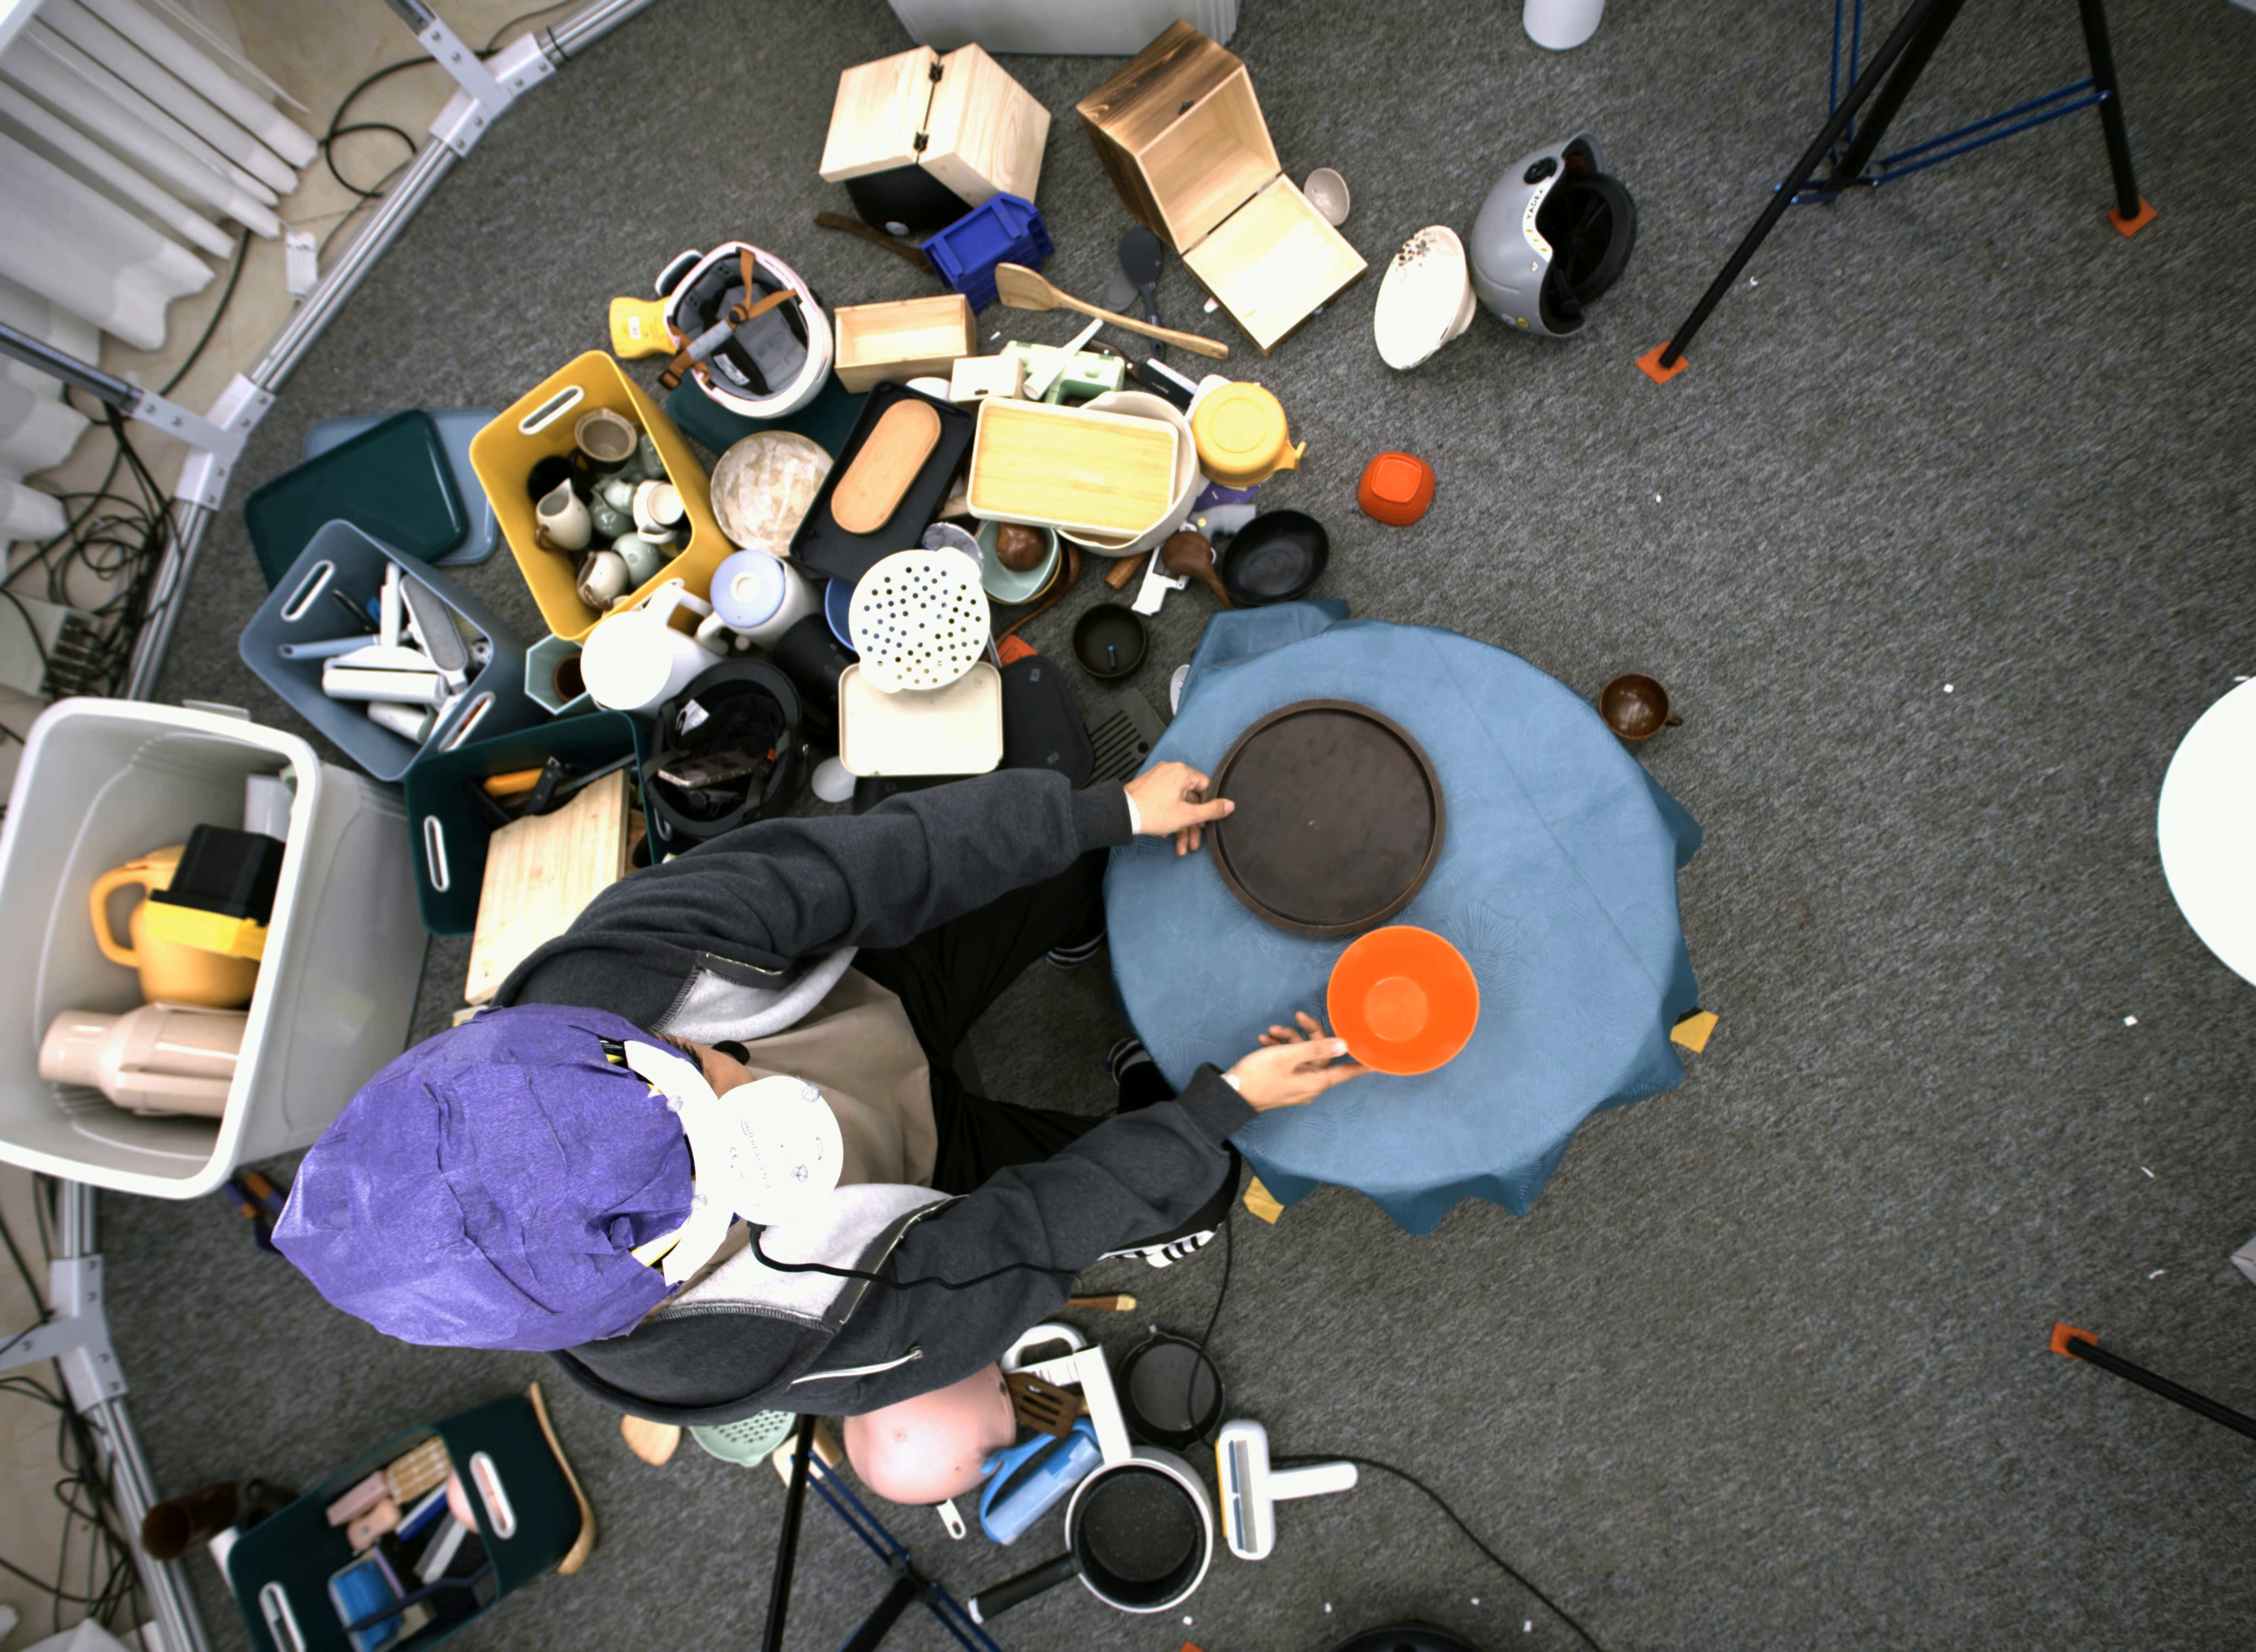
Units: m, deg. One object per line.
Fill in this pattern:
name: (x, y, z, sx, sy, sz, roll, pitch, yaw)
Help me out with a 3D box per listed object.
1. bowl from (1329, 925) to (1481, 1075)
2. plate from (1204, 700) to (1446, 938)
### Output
bowl: (0.277, 0.175, 1.401, 0.148, 0.105, 0.147, -1, 86, 8)
plate: (0.207, -0.009, 1.462, 0.255, 0.029, 0.254, 0, 88, 9)
